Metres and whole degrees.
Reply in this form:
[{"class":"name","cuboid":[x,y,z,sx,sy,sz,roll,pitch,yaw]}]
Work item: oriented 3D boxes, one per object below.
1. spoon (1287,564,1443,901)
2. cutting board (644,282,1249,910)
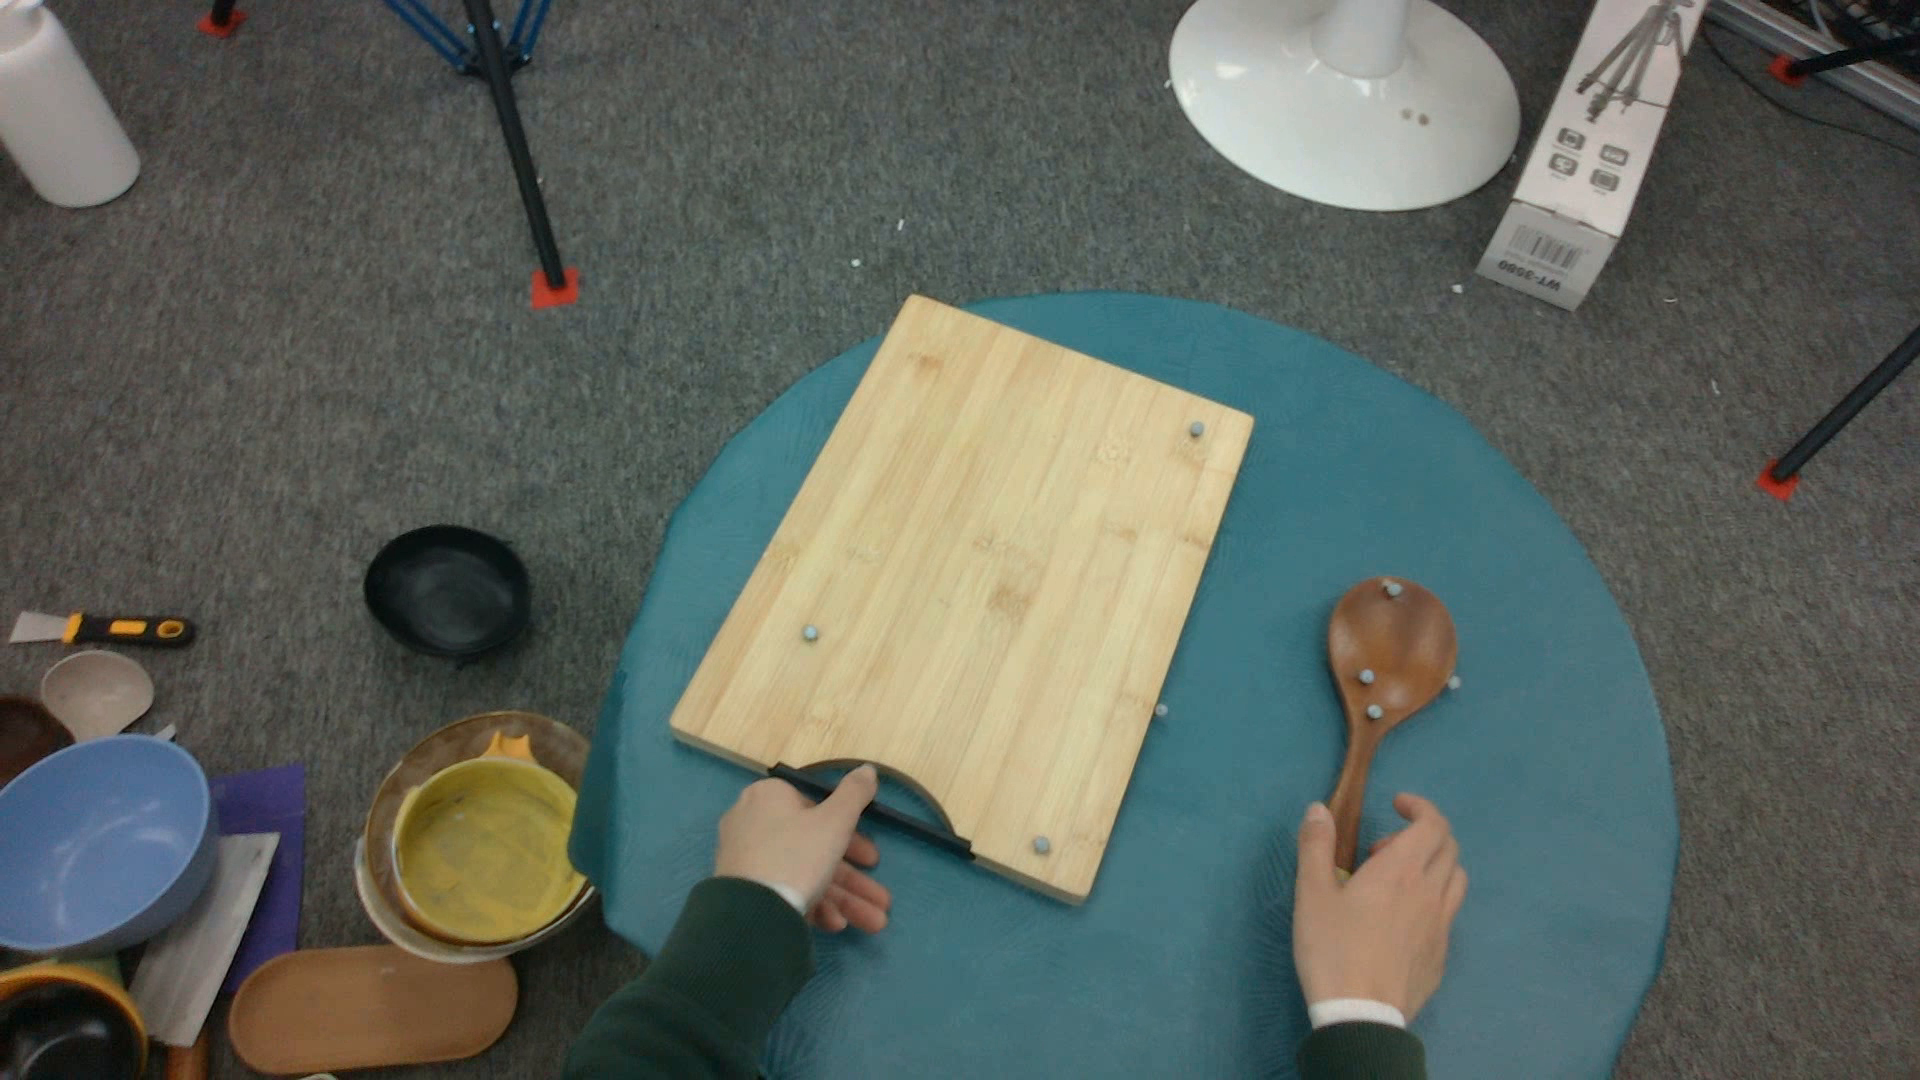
[{"class":"spoon","cuboid":[0.221,0.104,0.776,0.075,0.017,0.217,22,59,6]},{"class":"cutting board","cuboid":[0.008,0.012,0.808,0.250,0.023,0.350,20,59,7]}]
